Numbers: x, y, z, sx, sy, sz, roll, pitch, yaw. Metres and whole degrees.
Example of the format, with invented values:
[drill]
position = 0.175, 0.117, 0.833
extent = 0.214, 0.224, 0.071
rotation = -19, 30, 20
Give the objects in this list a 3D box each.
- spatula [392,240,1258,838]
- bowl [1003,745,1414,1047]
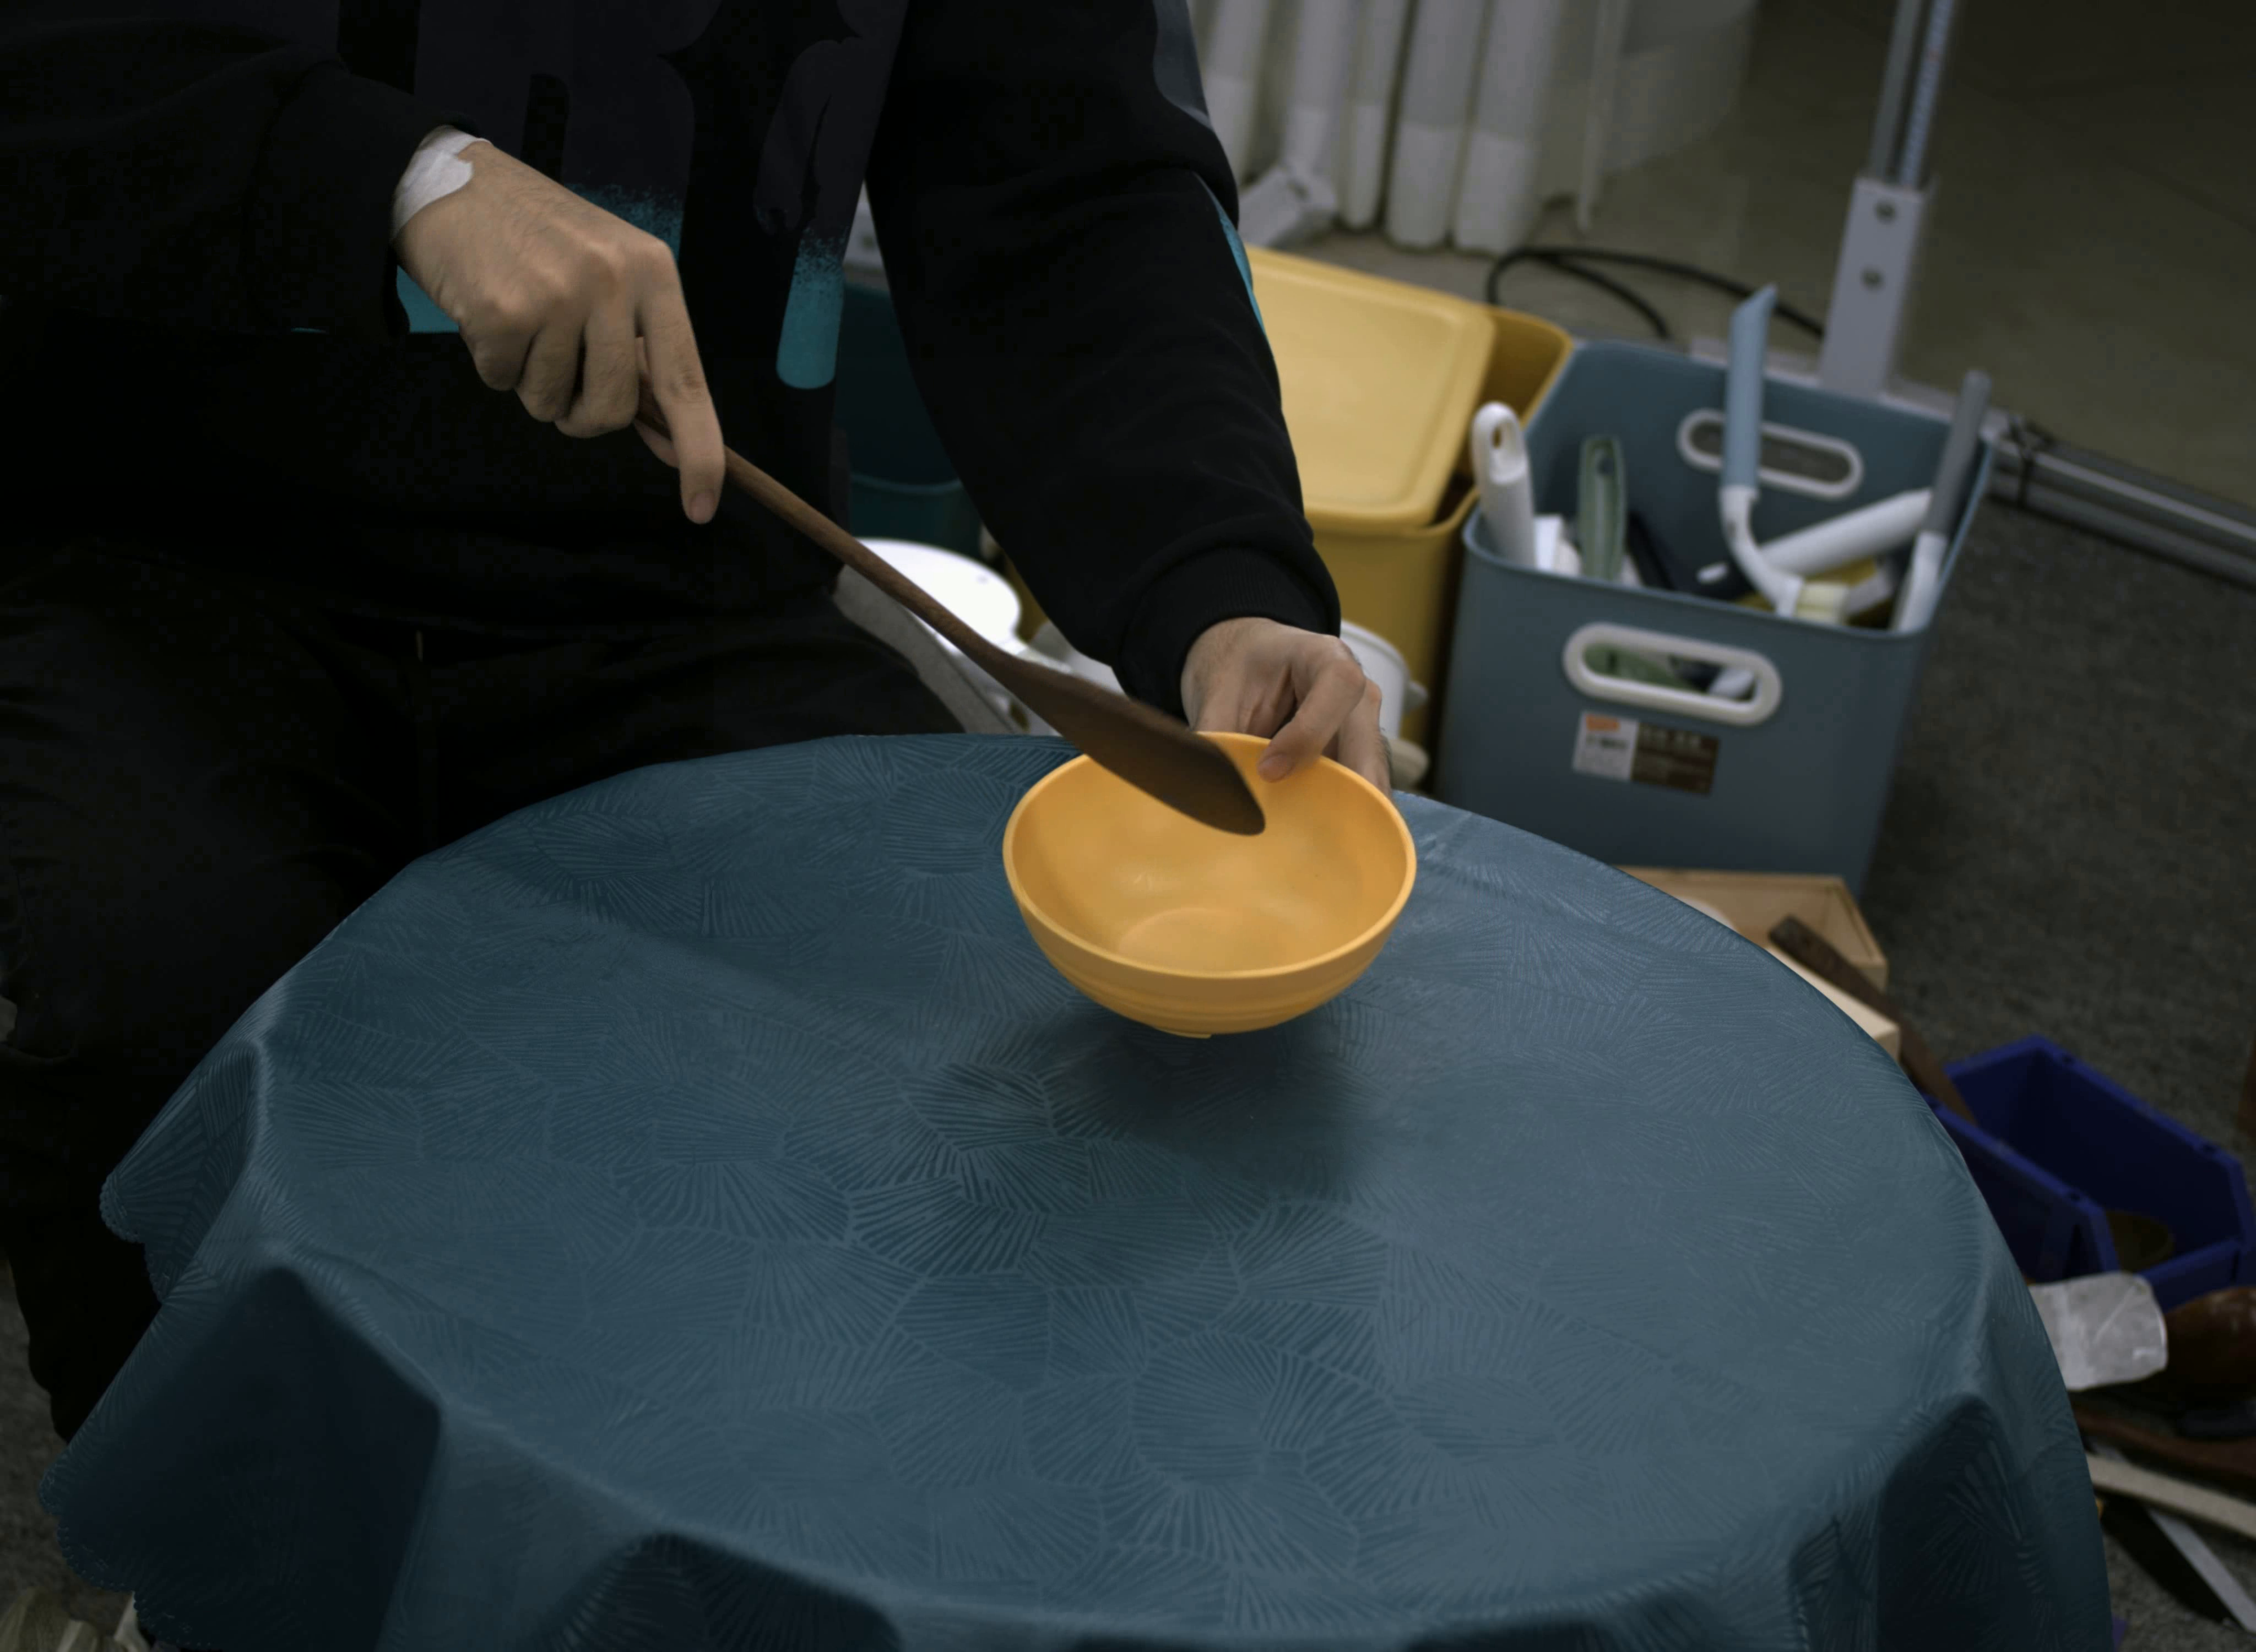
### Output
[spatula]
position = -0.110, -0.105, 1.863
extent = 0.387, 0.016, 0.095
rotation = 35, -7, 18
[bowl]
position = 0.026, 0.035, 1.872
extent = 0.145, 0.060, 0.146
rotation = 2, 33, -2
